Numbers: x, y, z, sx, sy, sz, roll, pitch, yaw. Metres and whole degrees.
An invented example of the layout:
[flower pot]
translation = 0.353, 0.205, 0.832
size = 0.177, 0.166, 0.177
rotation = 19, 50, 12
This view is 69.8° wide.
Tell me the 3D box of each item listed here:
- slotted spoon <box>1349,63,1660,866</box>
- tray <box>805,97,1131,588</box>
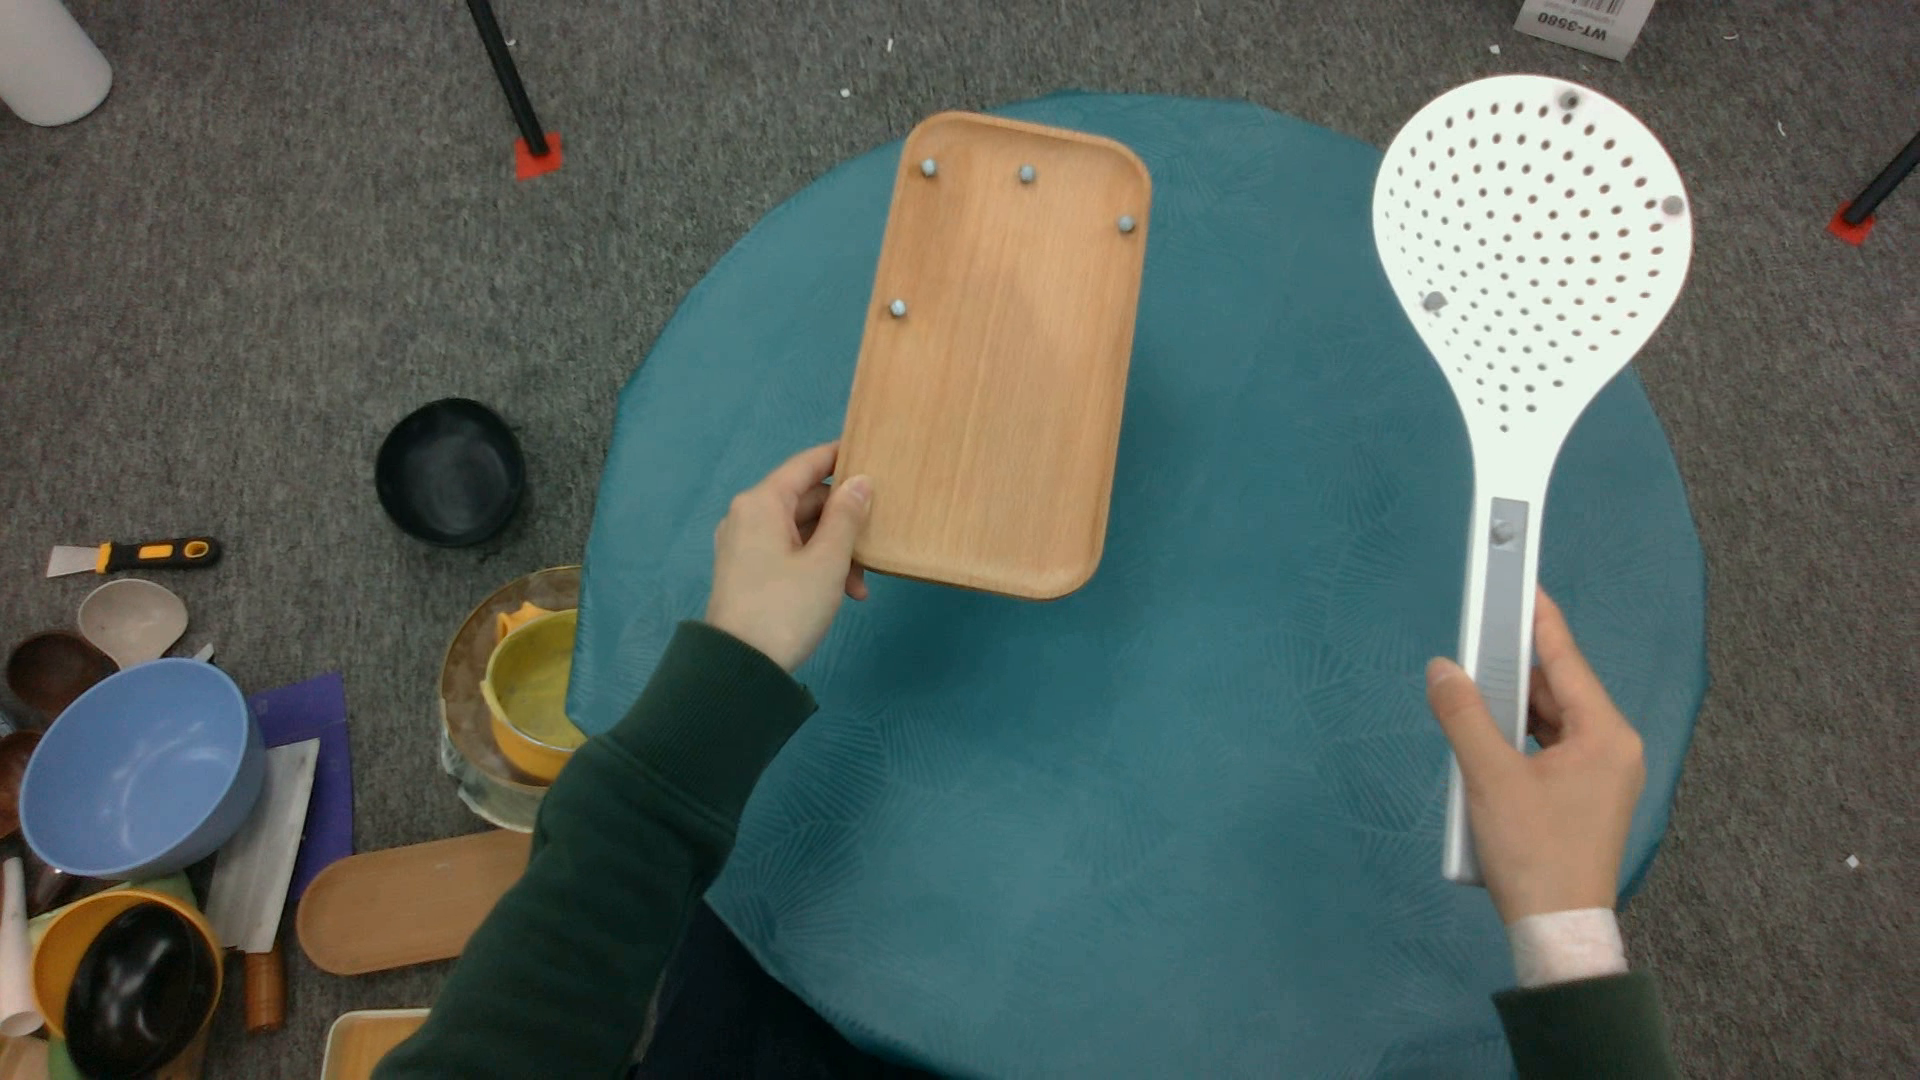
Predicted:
[slotted spoon]
translation = 0.223, -0.040, 0.585
size = 0.136, 0.045, 0.350
rotation = 8, 73, 1
[tray]
translation = 0.008, -0.100, 0.660
size = 0.130, 0.023, 0.251
rotation = 10, 70, 0
